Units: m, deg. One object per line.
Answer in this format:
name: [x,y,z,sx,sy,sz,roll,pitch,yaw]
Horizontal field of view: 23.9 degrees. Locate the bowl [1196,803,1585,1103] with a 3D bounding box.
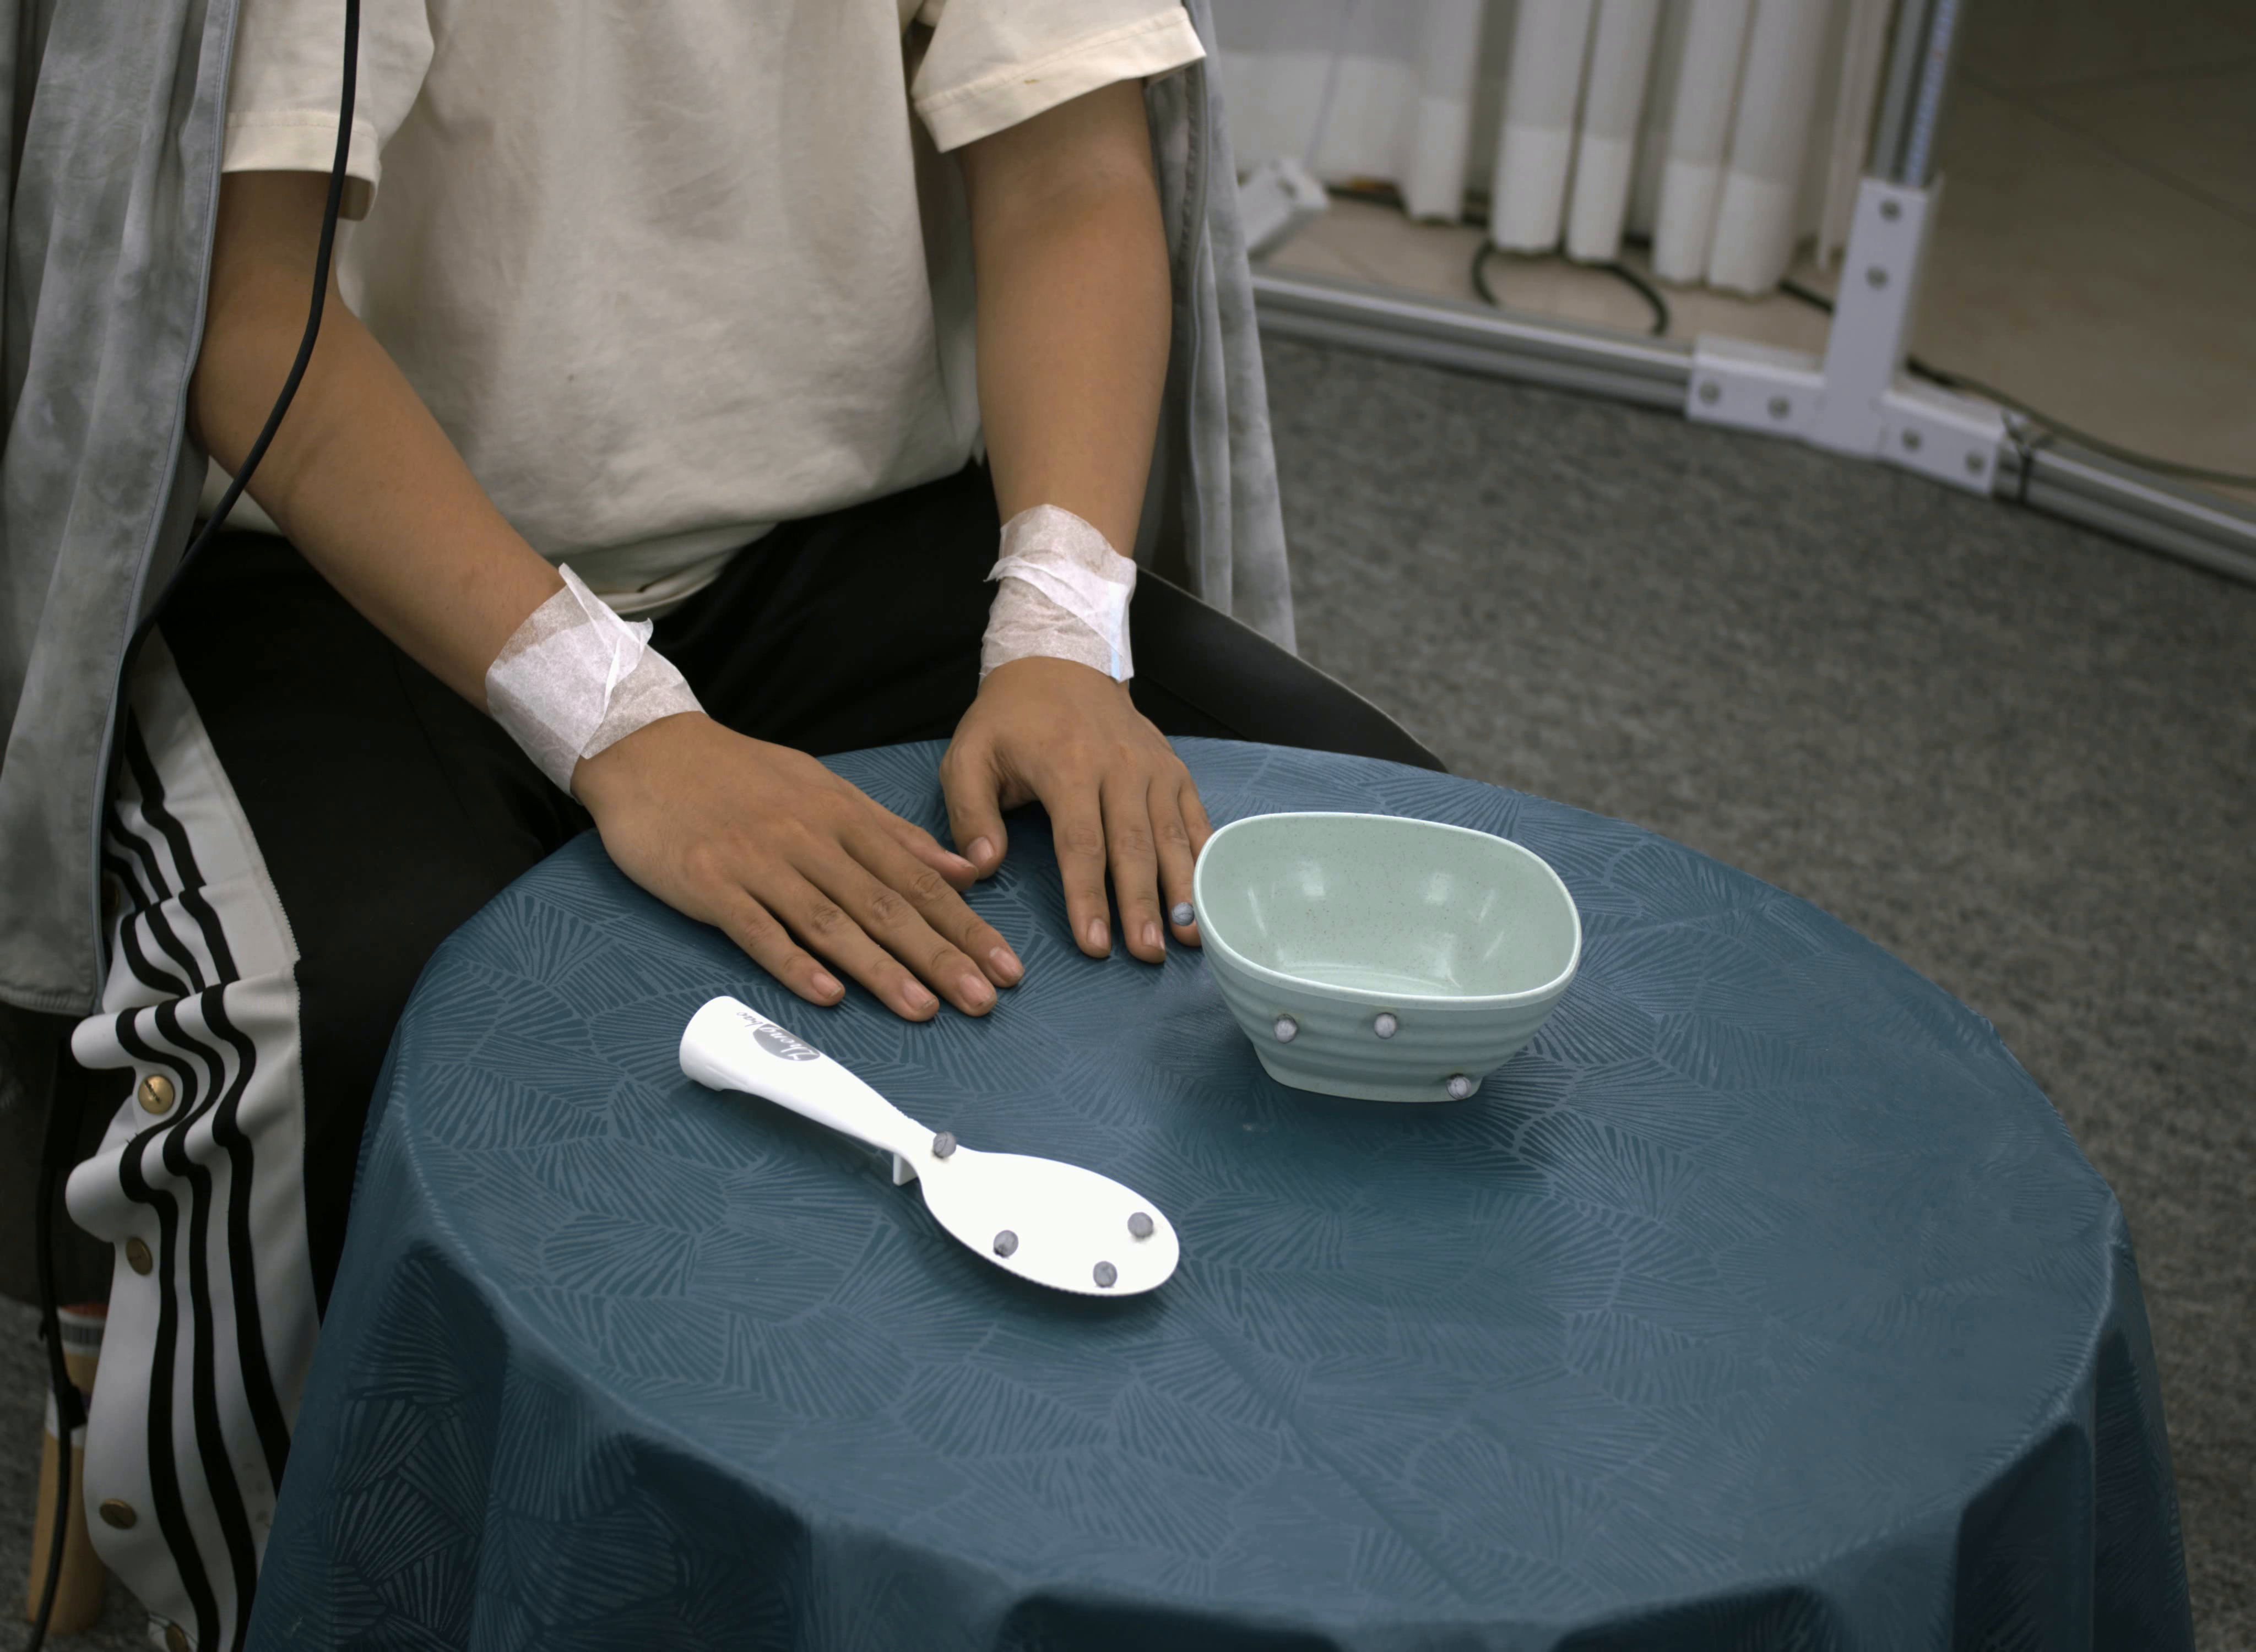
bowl: [0.091,0.051,1.901,0.151,0.058,0.152,3,30,-2]

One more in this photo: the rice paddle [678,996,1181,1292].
rice paddle: [-0.067,0.108,1.786,0.206,0.029,0.068,25,34,33]
